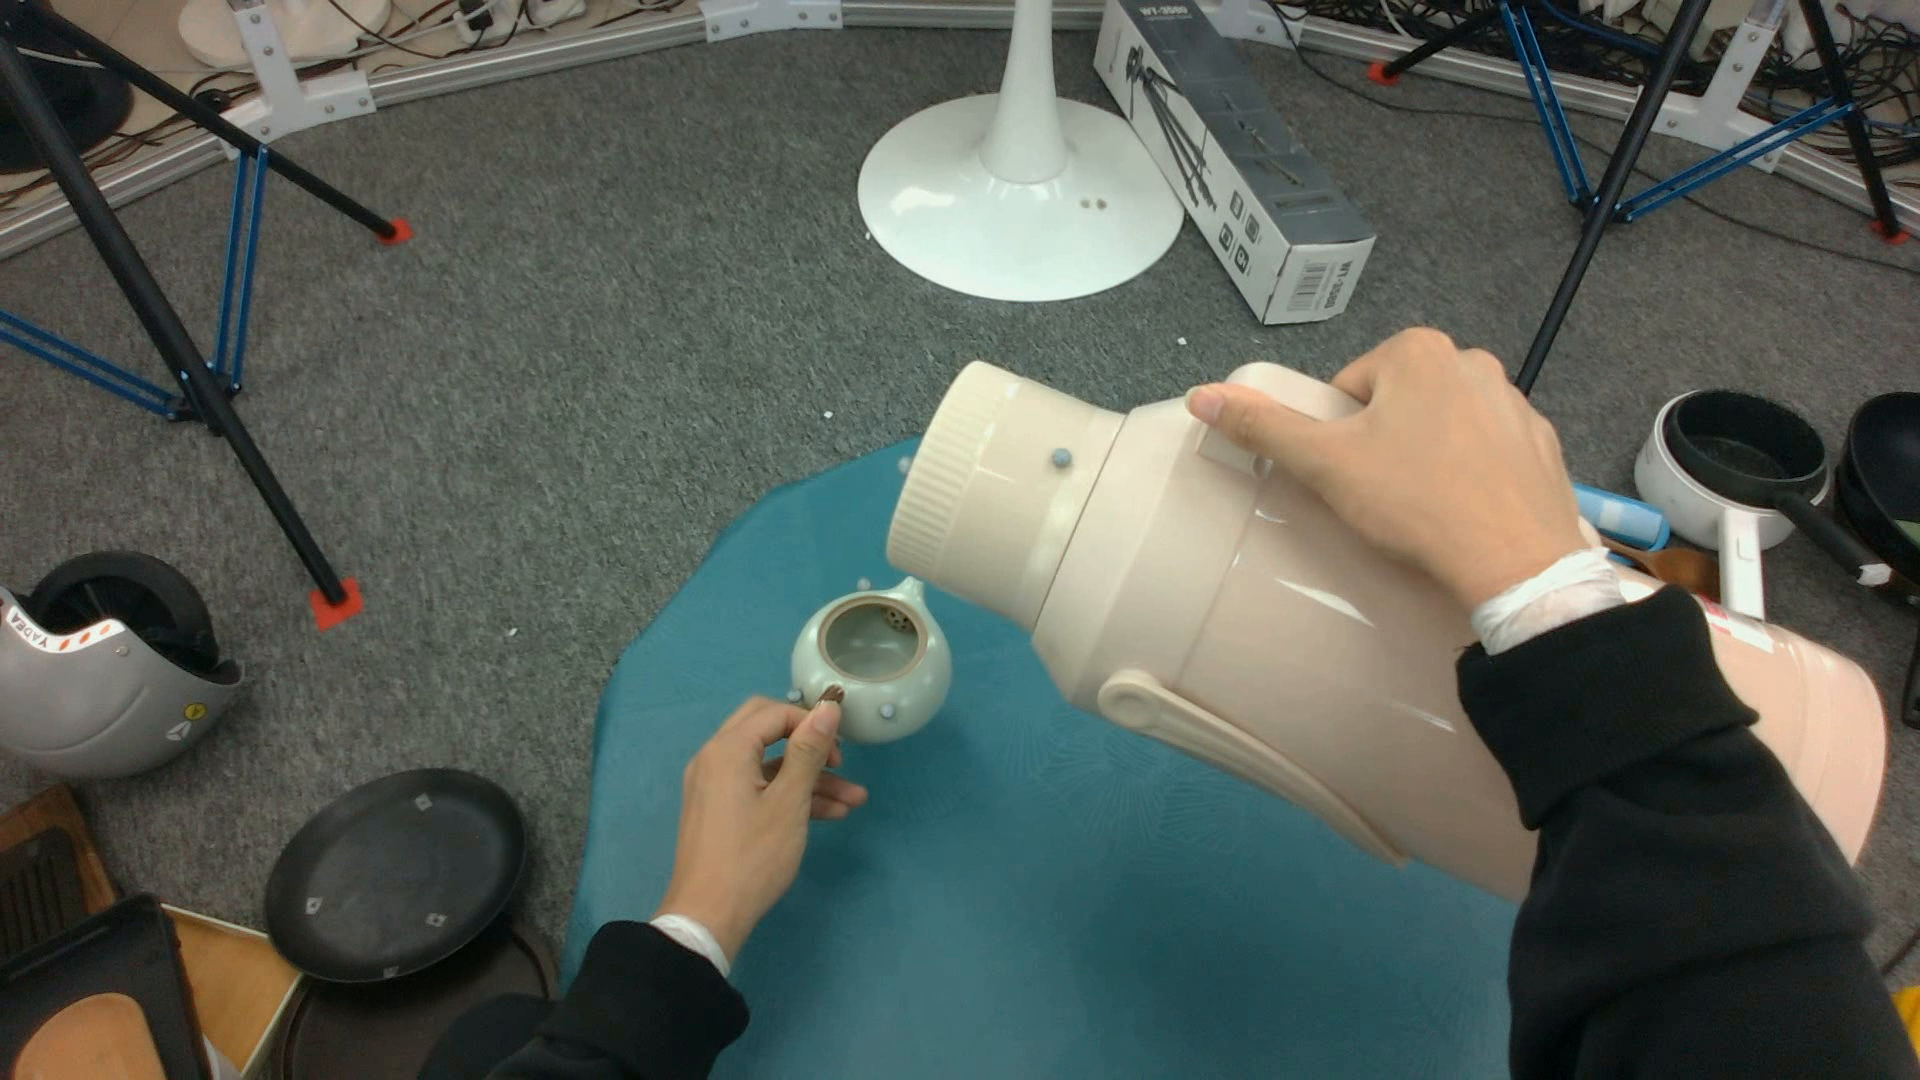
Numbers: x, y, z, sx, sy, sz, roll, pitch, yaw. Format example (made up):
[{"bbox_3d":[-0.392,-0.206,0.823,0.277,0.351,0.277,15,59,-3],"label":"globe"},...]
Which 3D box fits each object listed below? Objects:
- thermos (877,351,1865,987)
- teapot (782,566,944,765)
[{"bbox_3d":[0.168,0.033,0.613,0.406,0.206,0.176,25,46,6],"label":"thermos"},{"bbox_3d":[-0.059,0.073,0.777,0.092,0.059,0.129,23,51,12],"label":"teapot"}]
